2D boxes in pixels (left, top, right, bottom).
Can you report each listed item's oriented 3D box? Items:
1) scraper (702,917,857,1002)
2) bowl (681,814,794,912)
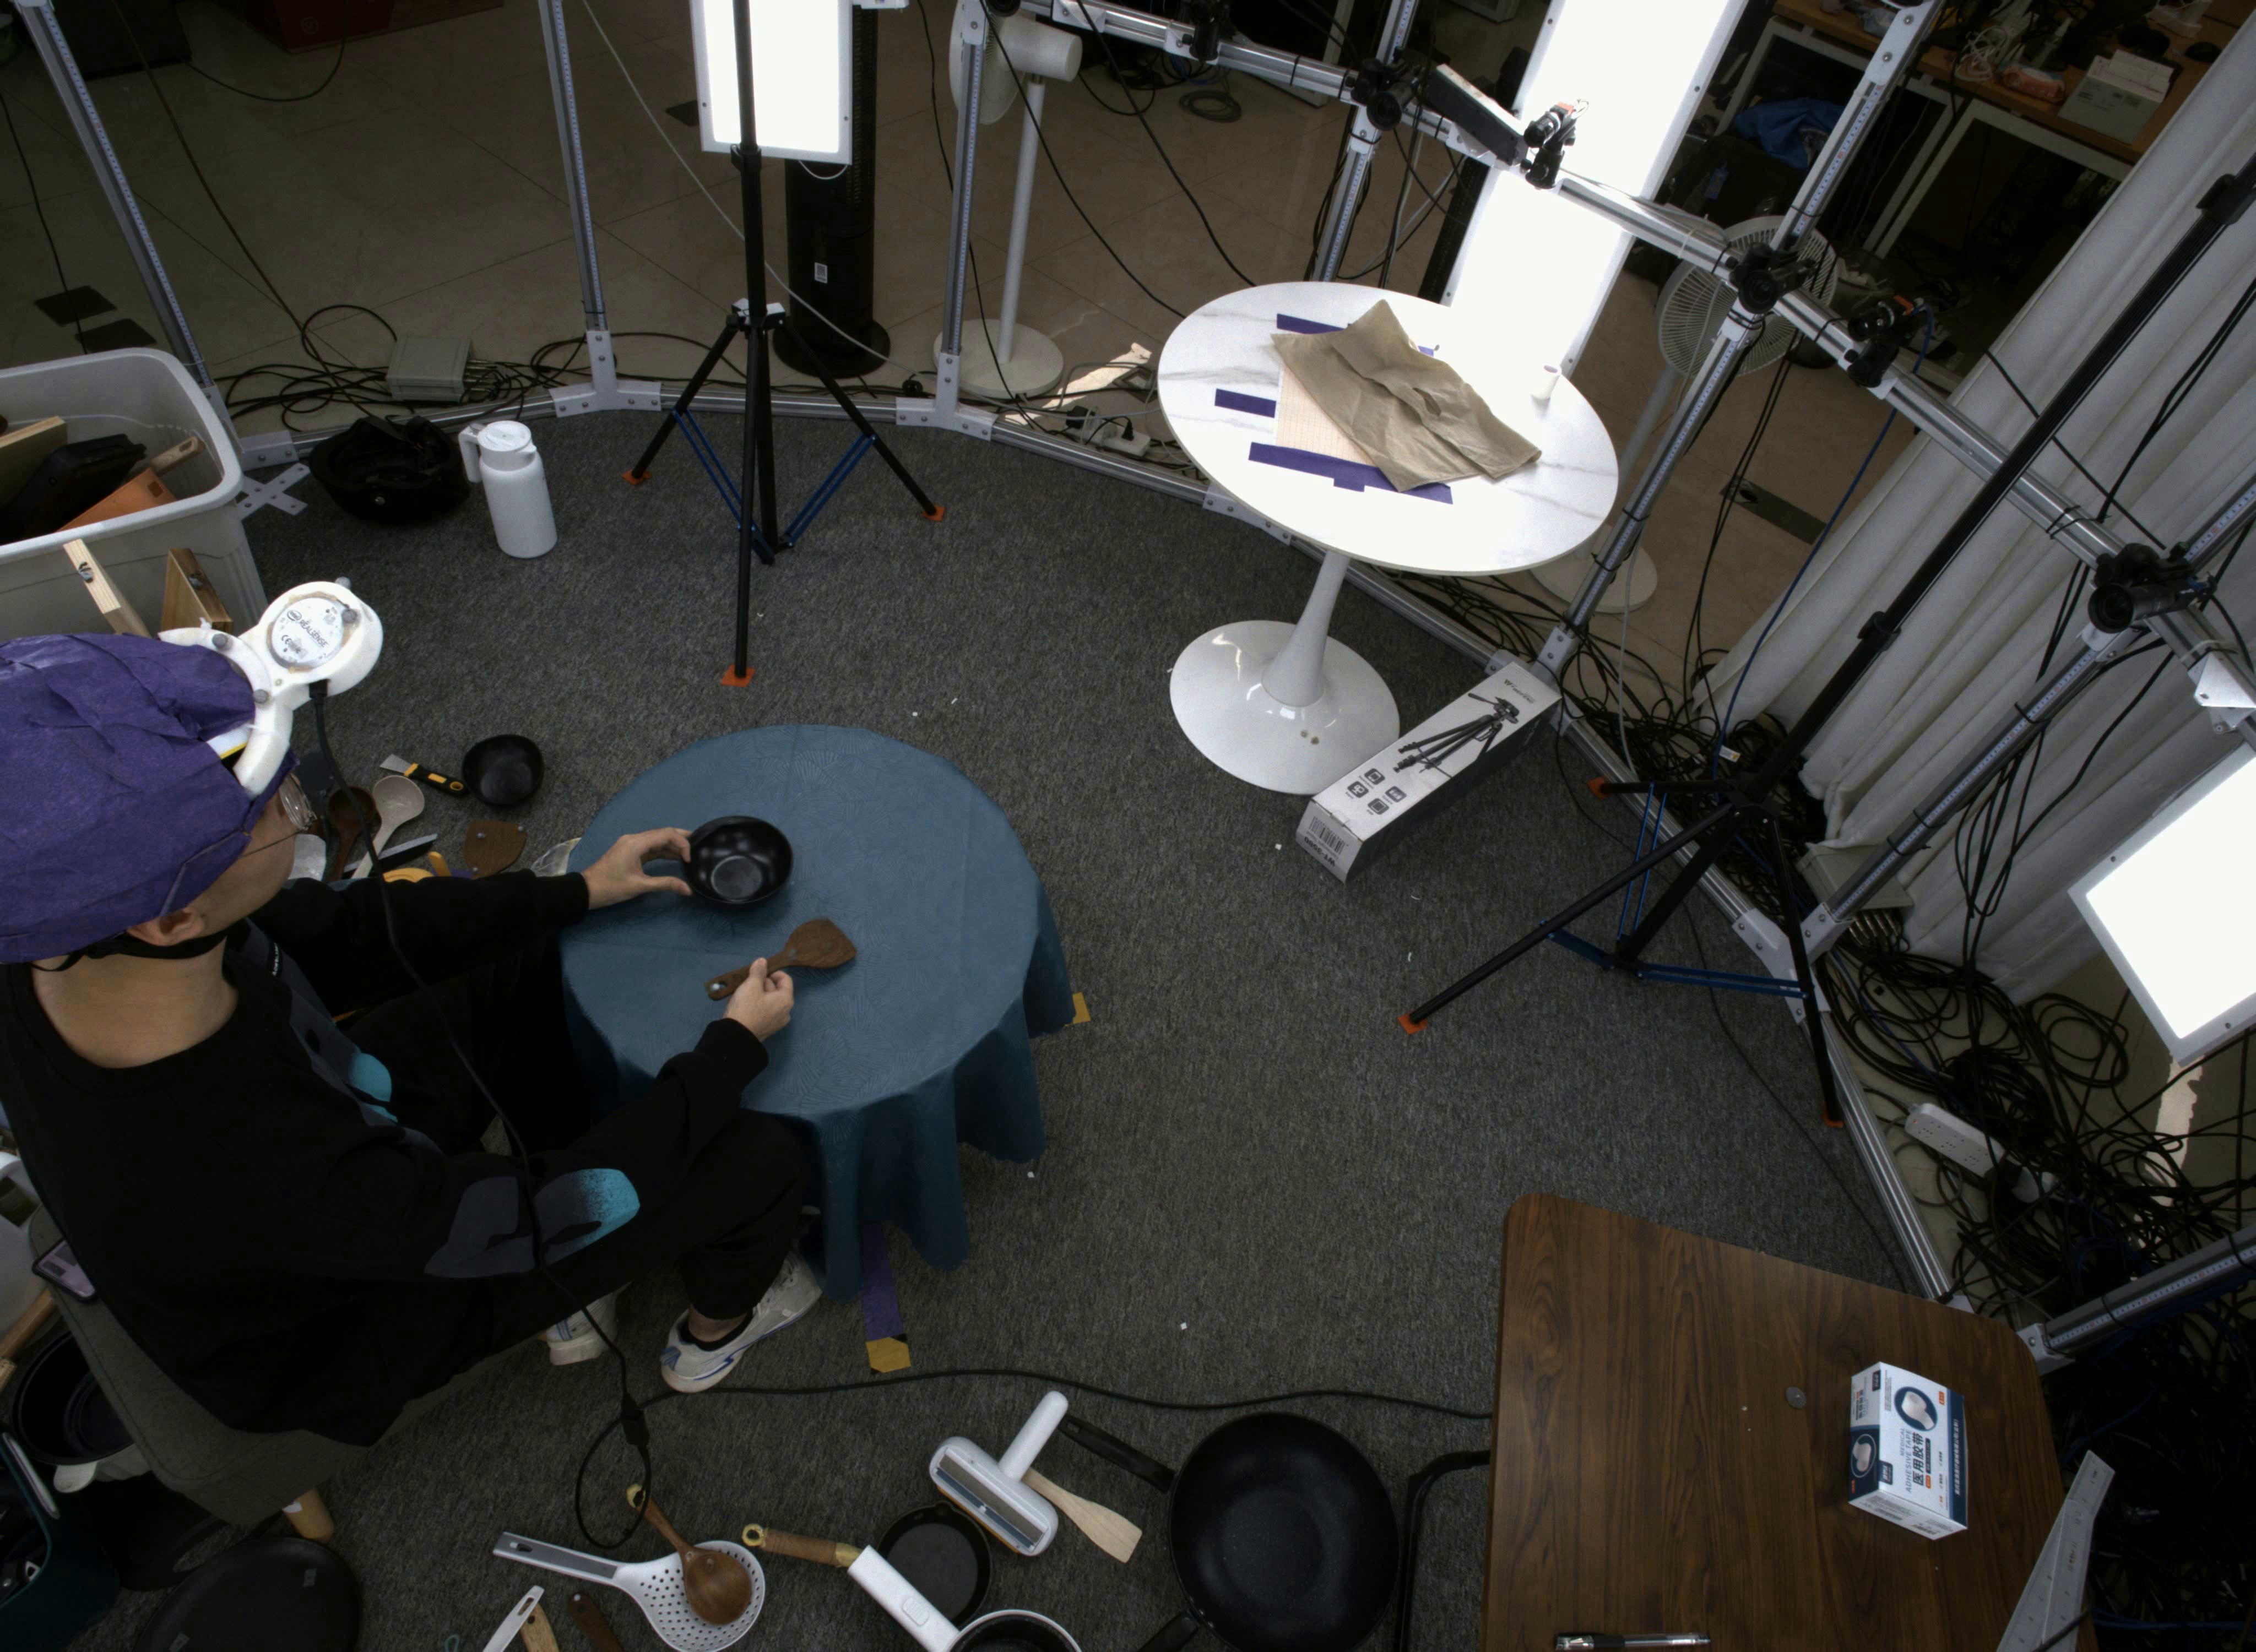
[{"bbox_3d":[-0.420,0.163,1.551,0.074,0.011,0.213,45,35,15],"label":"scraper"},{"bbox_3d":[-0.495,0.053,1.639,0.140,0.050,0.137,10,54,-11],"label":"bowl"}]
